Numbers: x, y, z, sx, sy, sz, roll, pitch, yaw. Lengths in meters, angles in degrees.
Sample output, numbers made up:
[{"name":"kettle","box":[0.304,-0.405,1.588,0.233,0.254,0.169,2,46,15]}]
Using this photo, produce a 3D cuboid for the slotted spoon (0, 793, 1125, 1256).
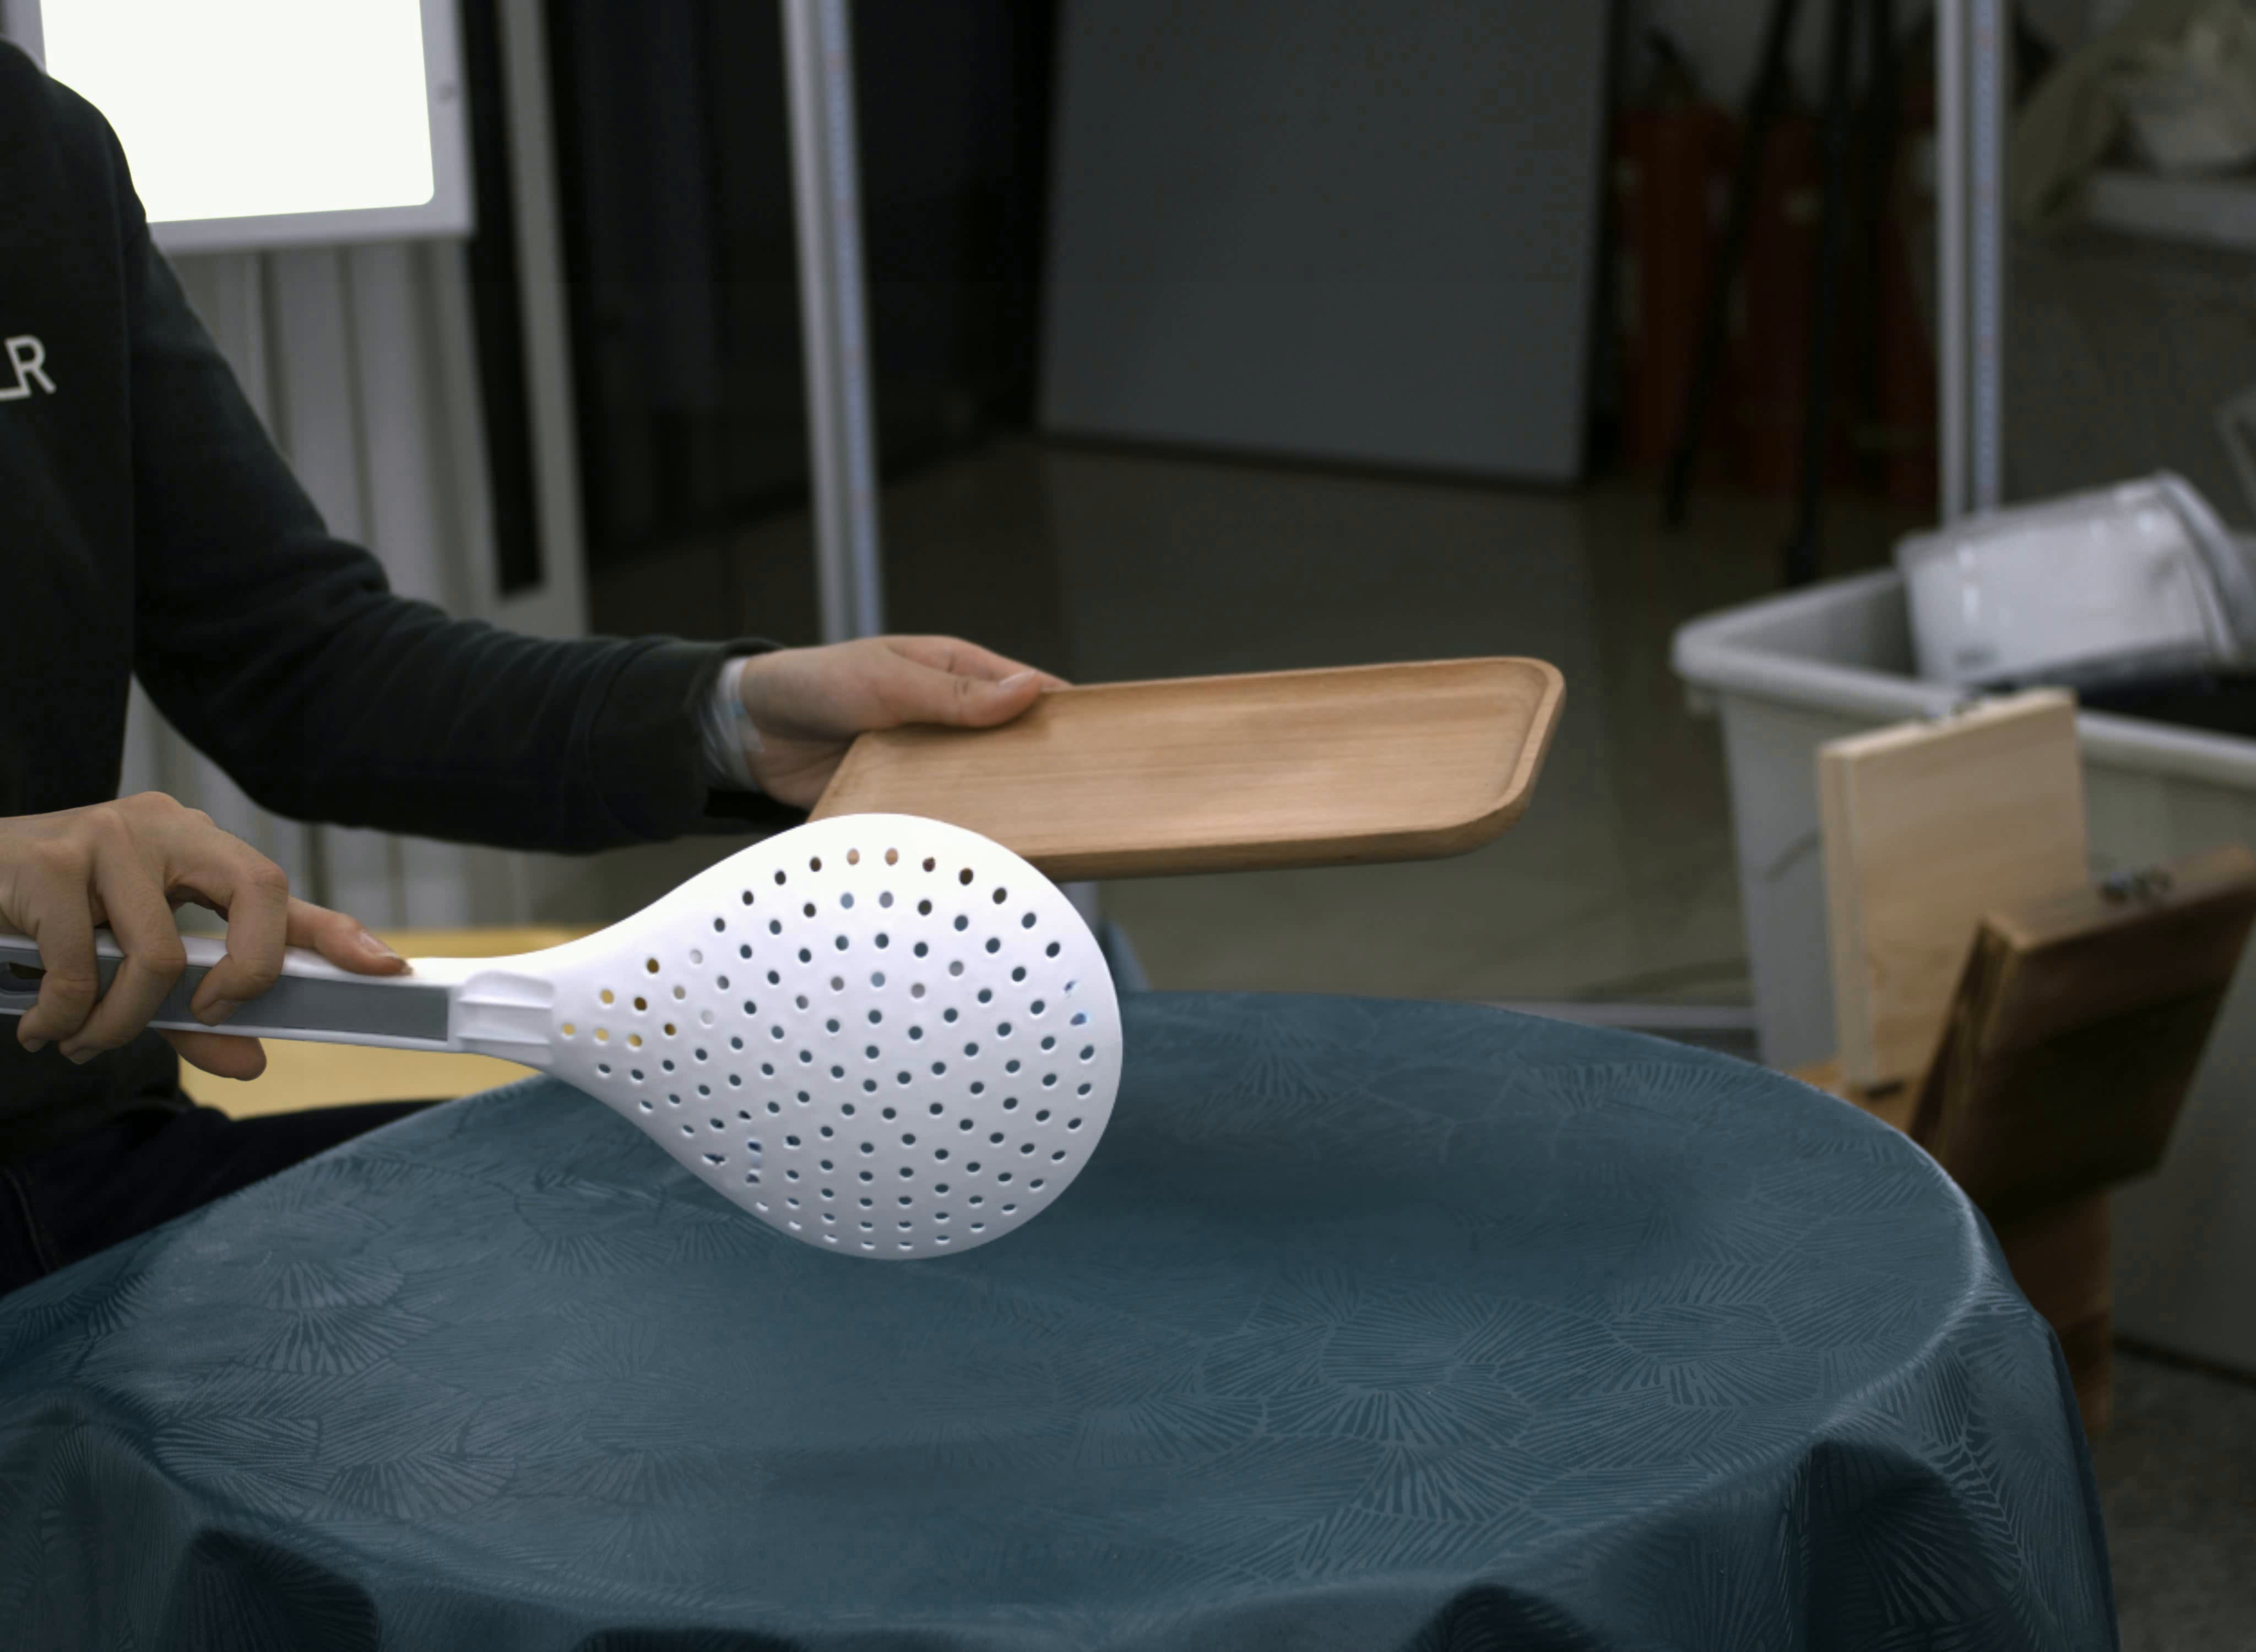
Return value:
[{"name":"slotted spoon","box":[-0.175,0.051,1.534,0.347,0.137,0.045,6,15,9]}]

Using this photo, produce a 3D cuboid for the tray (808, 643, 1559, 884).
[{"name":"tray","box":[0.018,-0.018,1.794,0.250,0.023,0.130,-5,24,19]}]
